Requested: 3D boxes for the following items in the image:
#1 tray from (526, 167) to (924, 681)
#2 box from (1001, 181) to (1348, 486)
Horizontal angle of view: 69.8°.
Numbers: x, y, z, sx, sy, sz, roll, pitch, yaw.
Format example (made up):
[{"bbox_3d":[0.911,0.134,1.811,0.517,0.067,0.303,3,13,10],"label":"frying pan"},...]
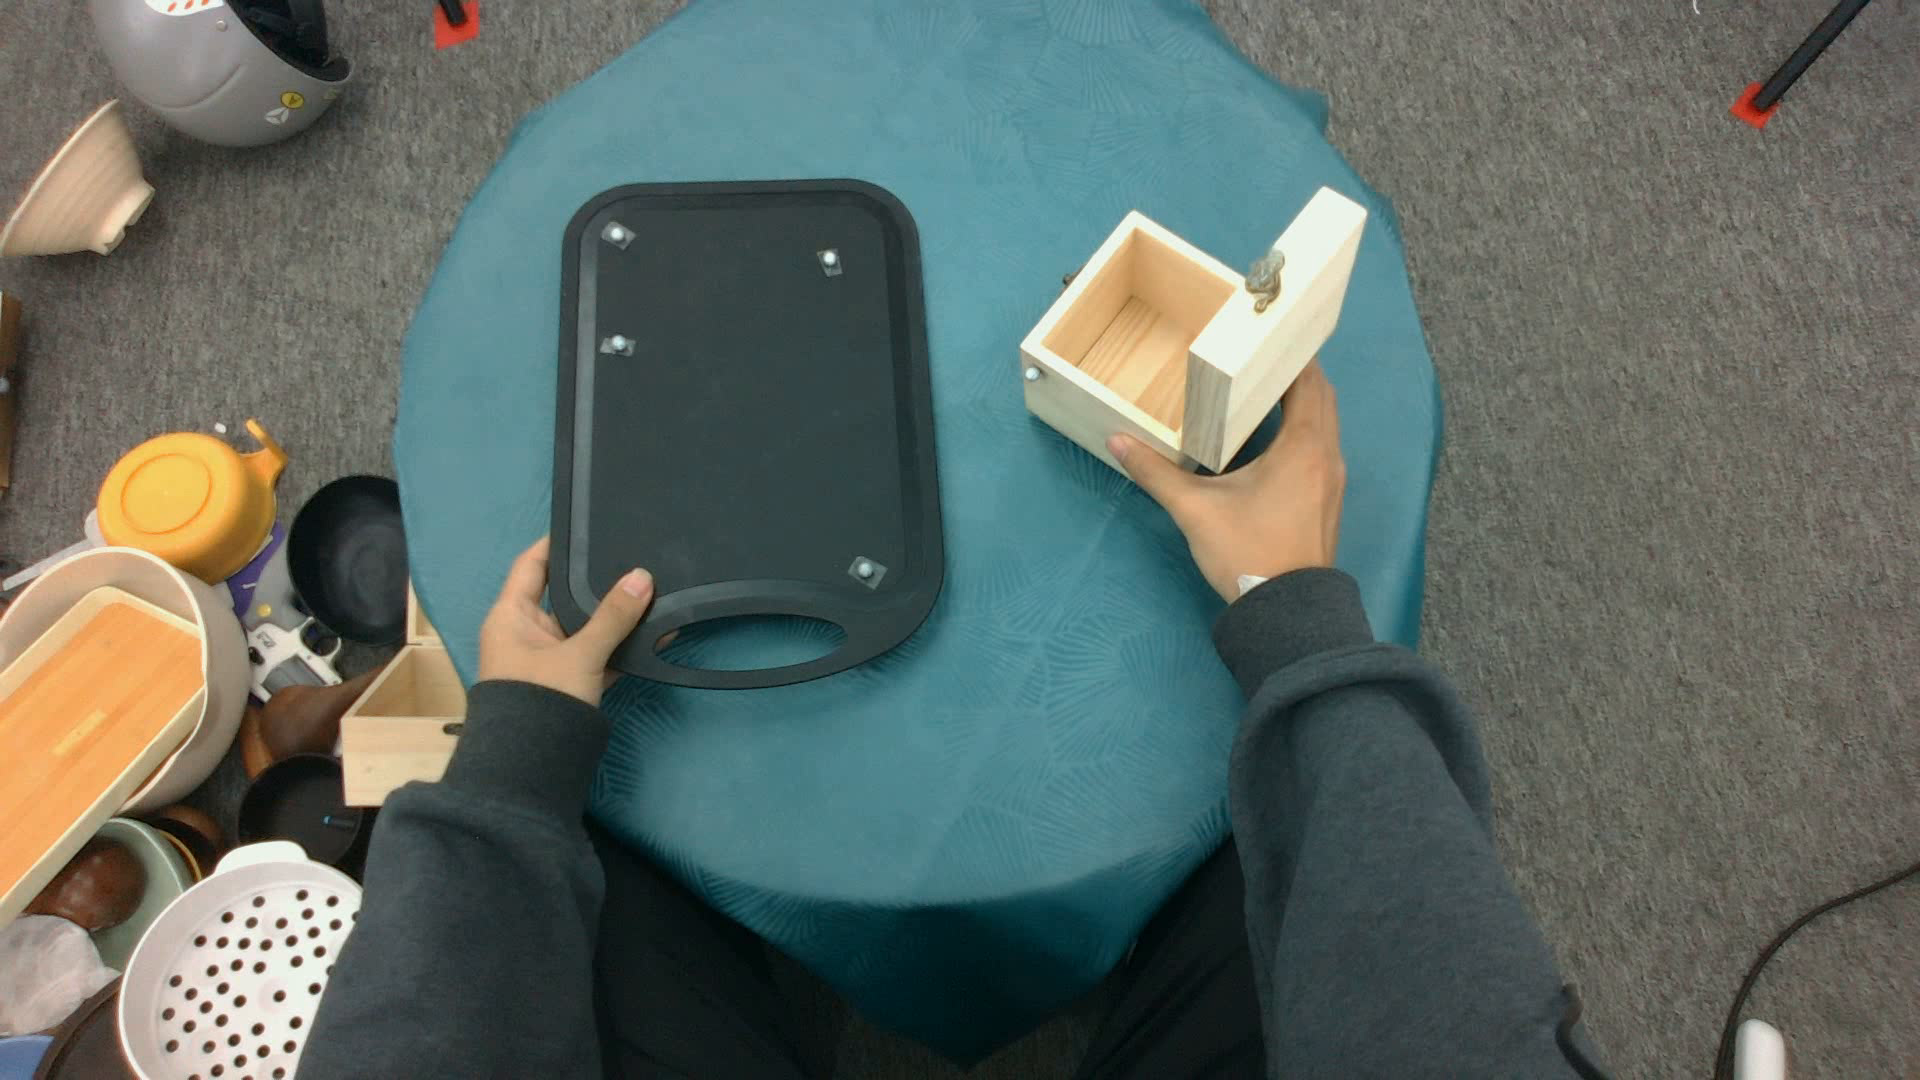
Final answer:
[{"bbox_3d":[-0.131,-0.078,0.771,0.211,0.010,0.326,-3,66,-5],"label":"tray"},{"bbox_3d":[0.098,-0.118,0.698,0.134,0.184,0.103,35,77,13],"label":"box"}]
